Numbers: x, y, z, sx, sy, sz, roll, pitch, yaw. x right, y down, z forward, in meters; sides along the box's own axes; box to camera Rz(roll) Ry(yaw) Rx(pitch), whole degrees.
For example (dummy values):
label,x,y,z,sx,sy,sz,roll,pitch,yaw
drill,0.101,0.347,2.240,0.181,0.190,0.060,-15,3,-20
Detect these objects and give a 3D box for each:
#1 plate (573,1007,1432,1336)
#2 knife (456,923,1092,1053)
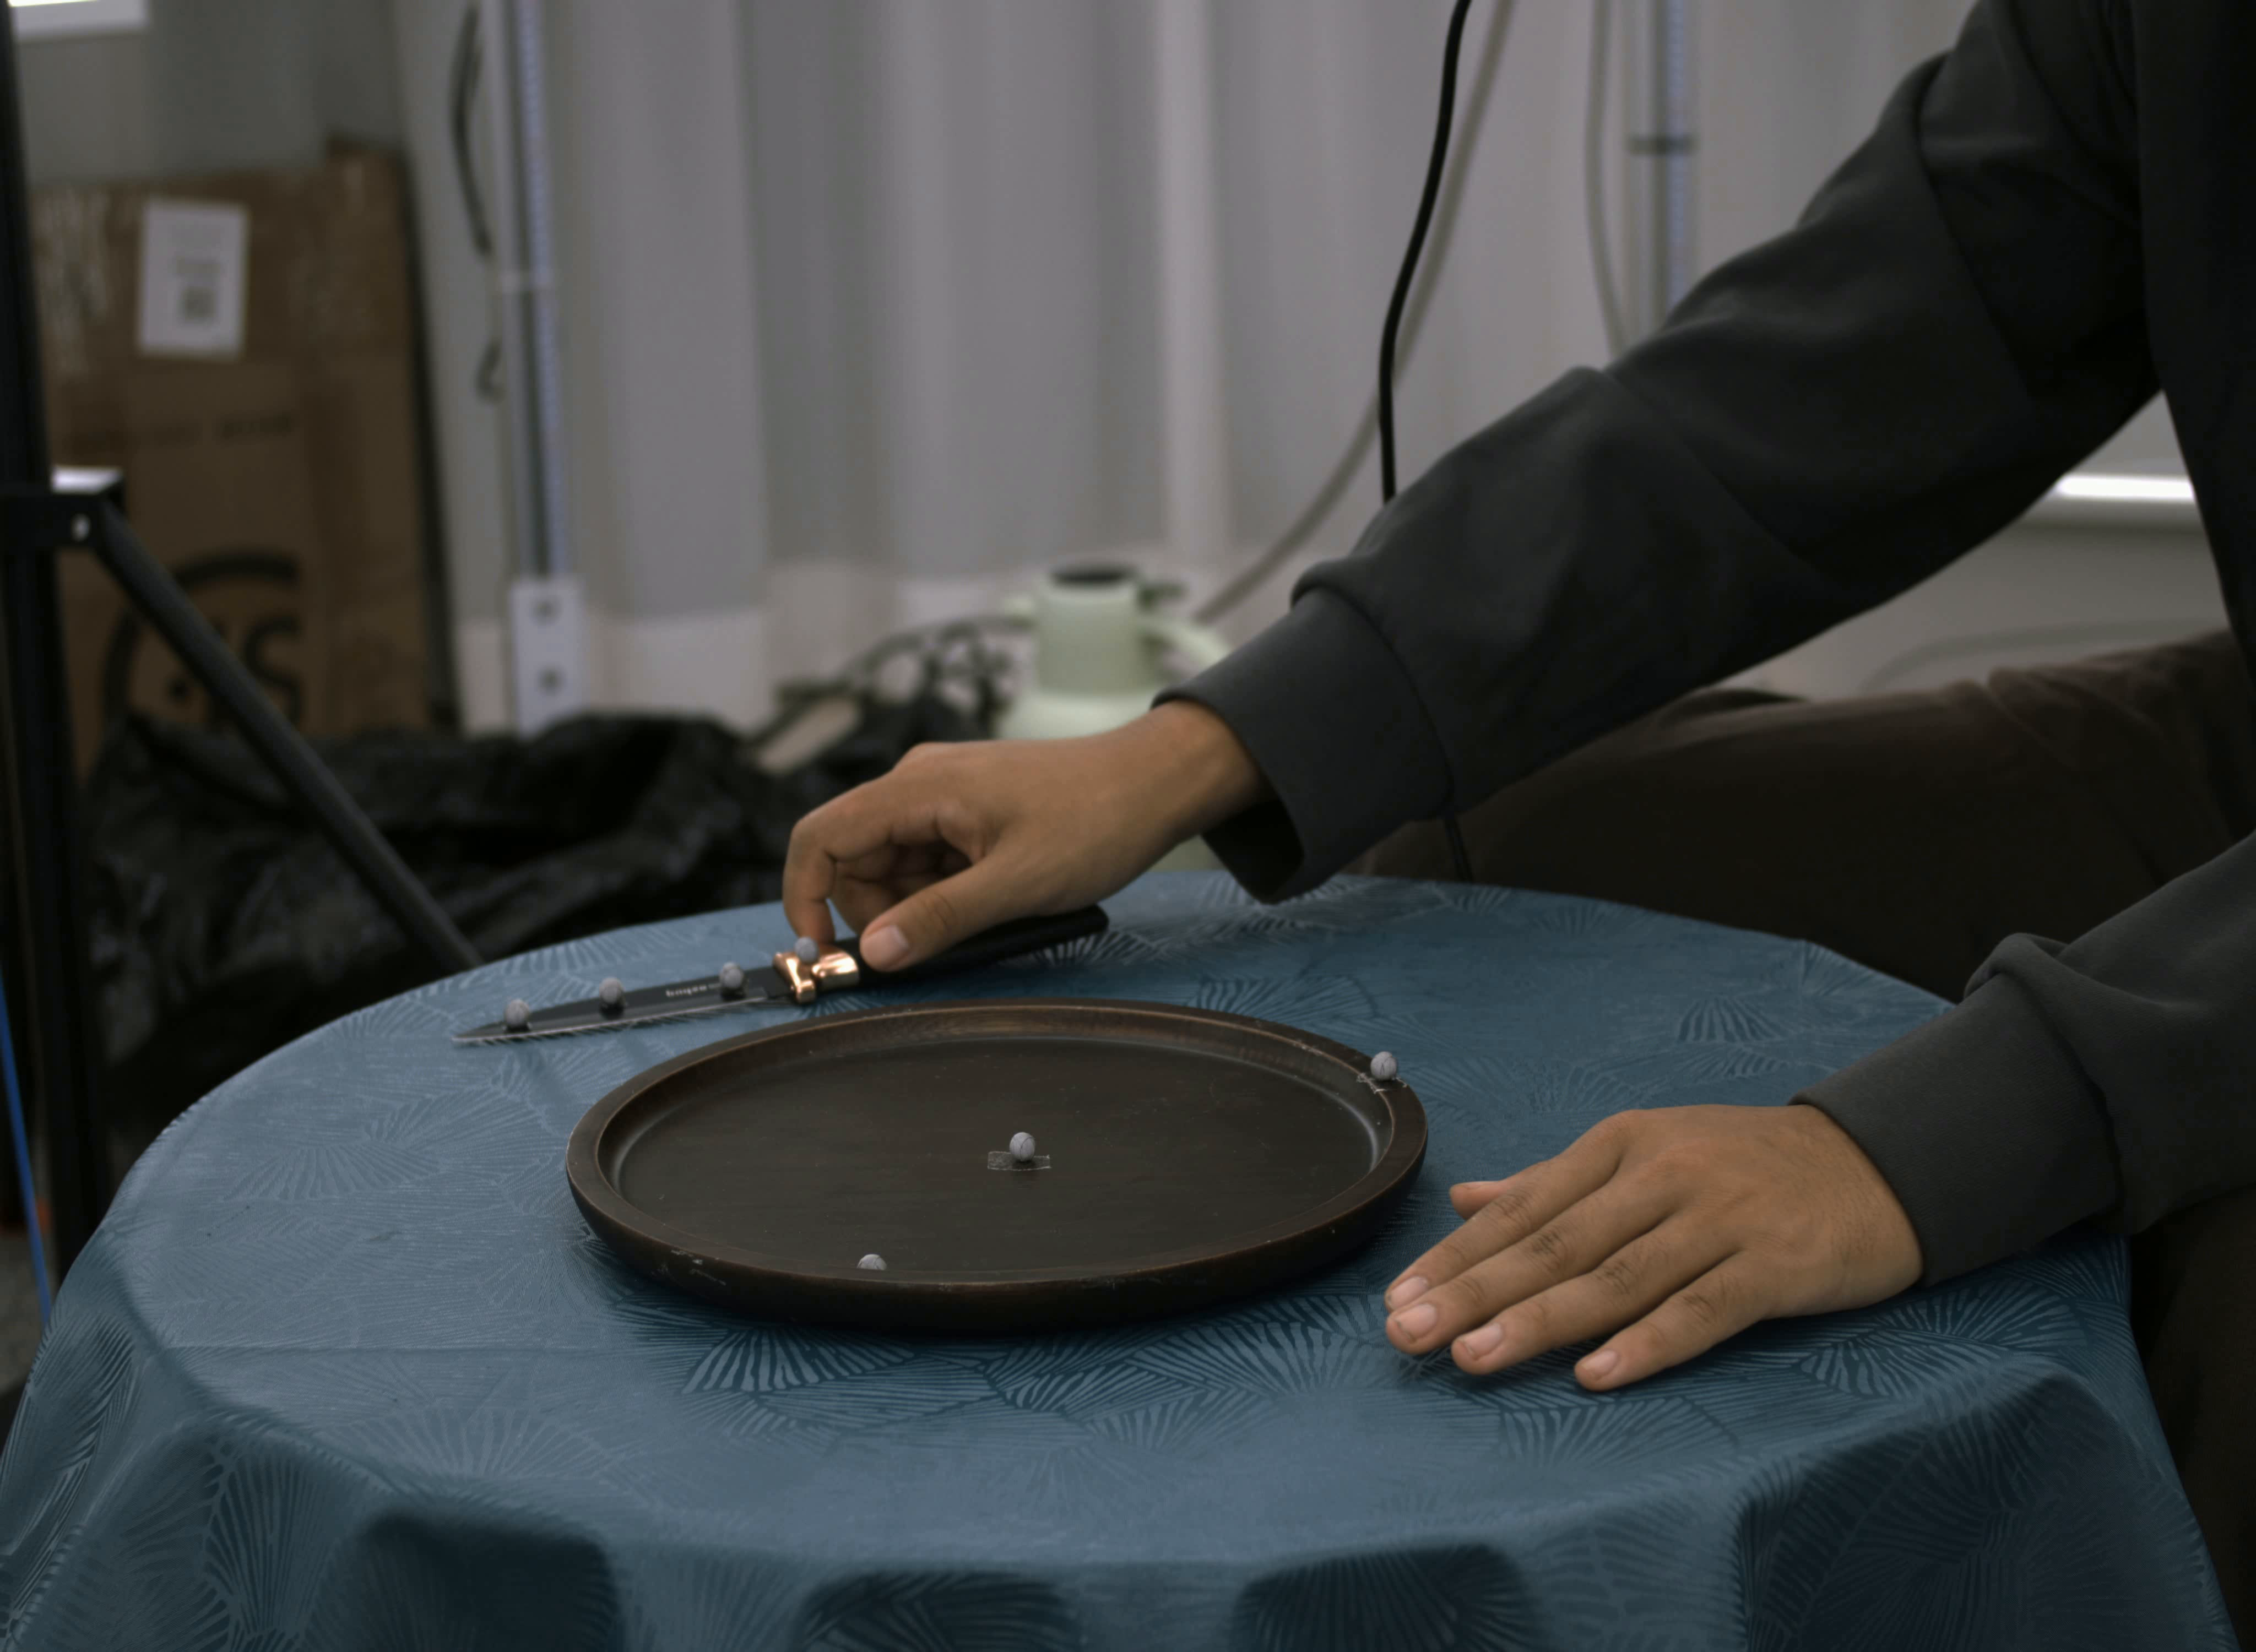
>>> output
label,x,y,z,sx,sy,sz,roll,pitch,yaw
plate,-0.036,0.098,1.555,0.253,0.029,0.256,-2,15,-1
knife,-0.113,0.054,1.746,0.221,0.017,0.027,-8,26,-19
